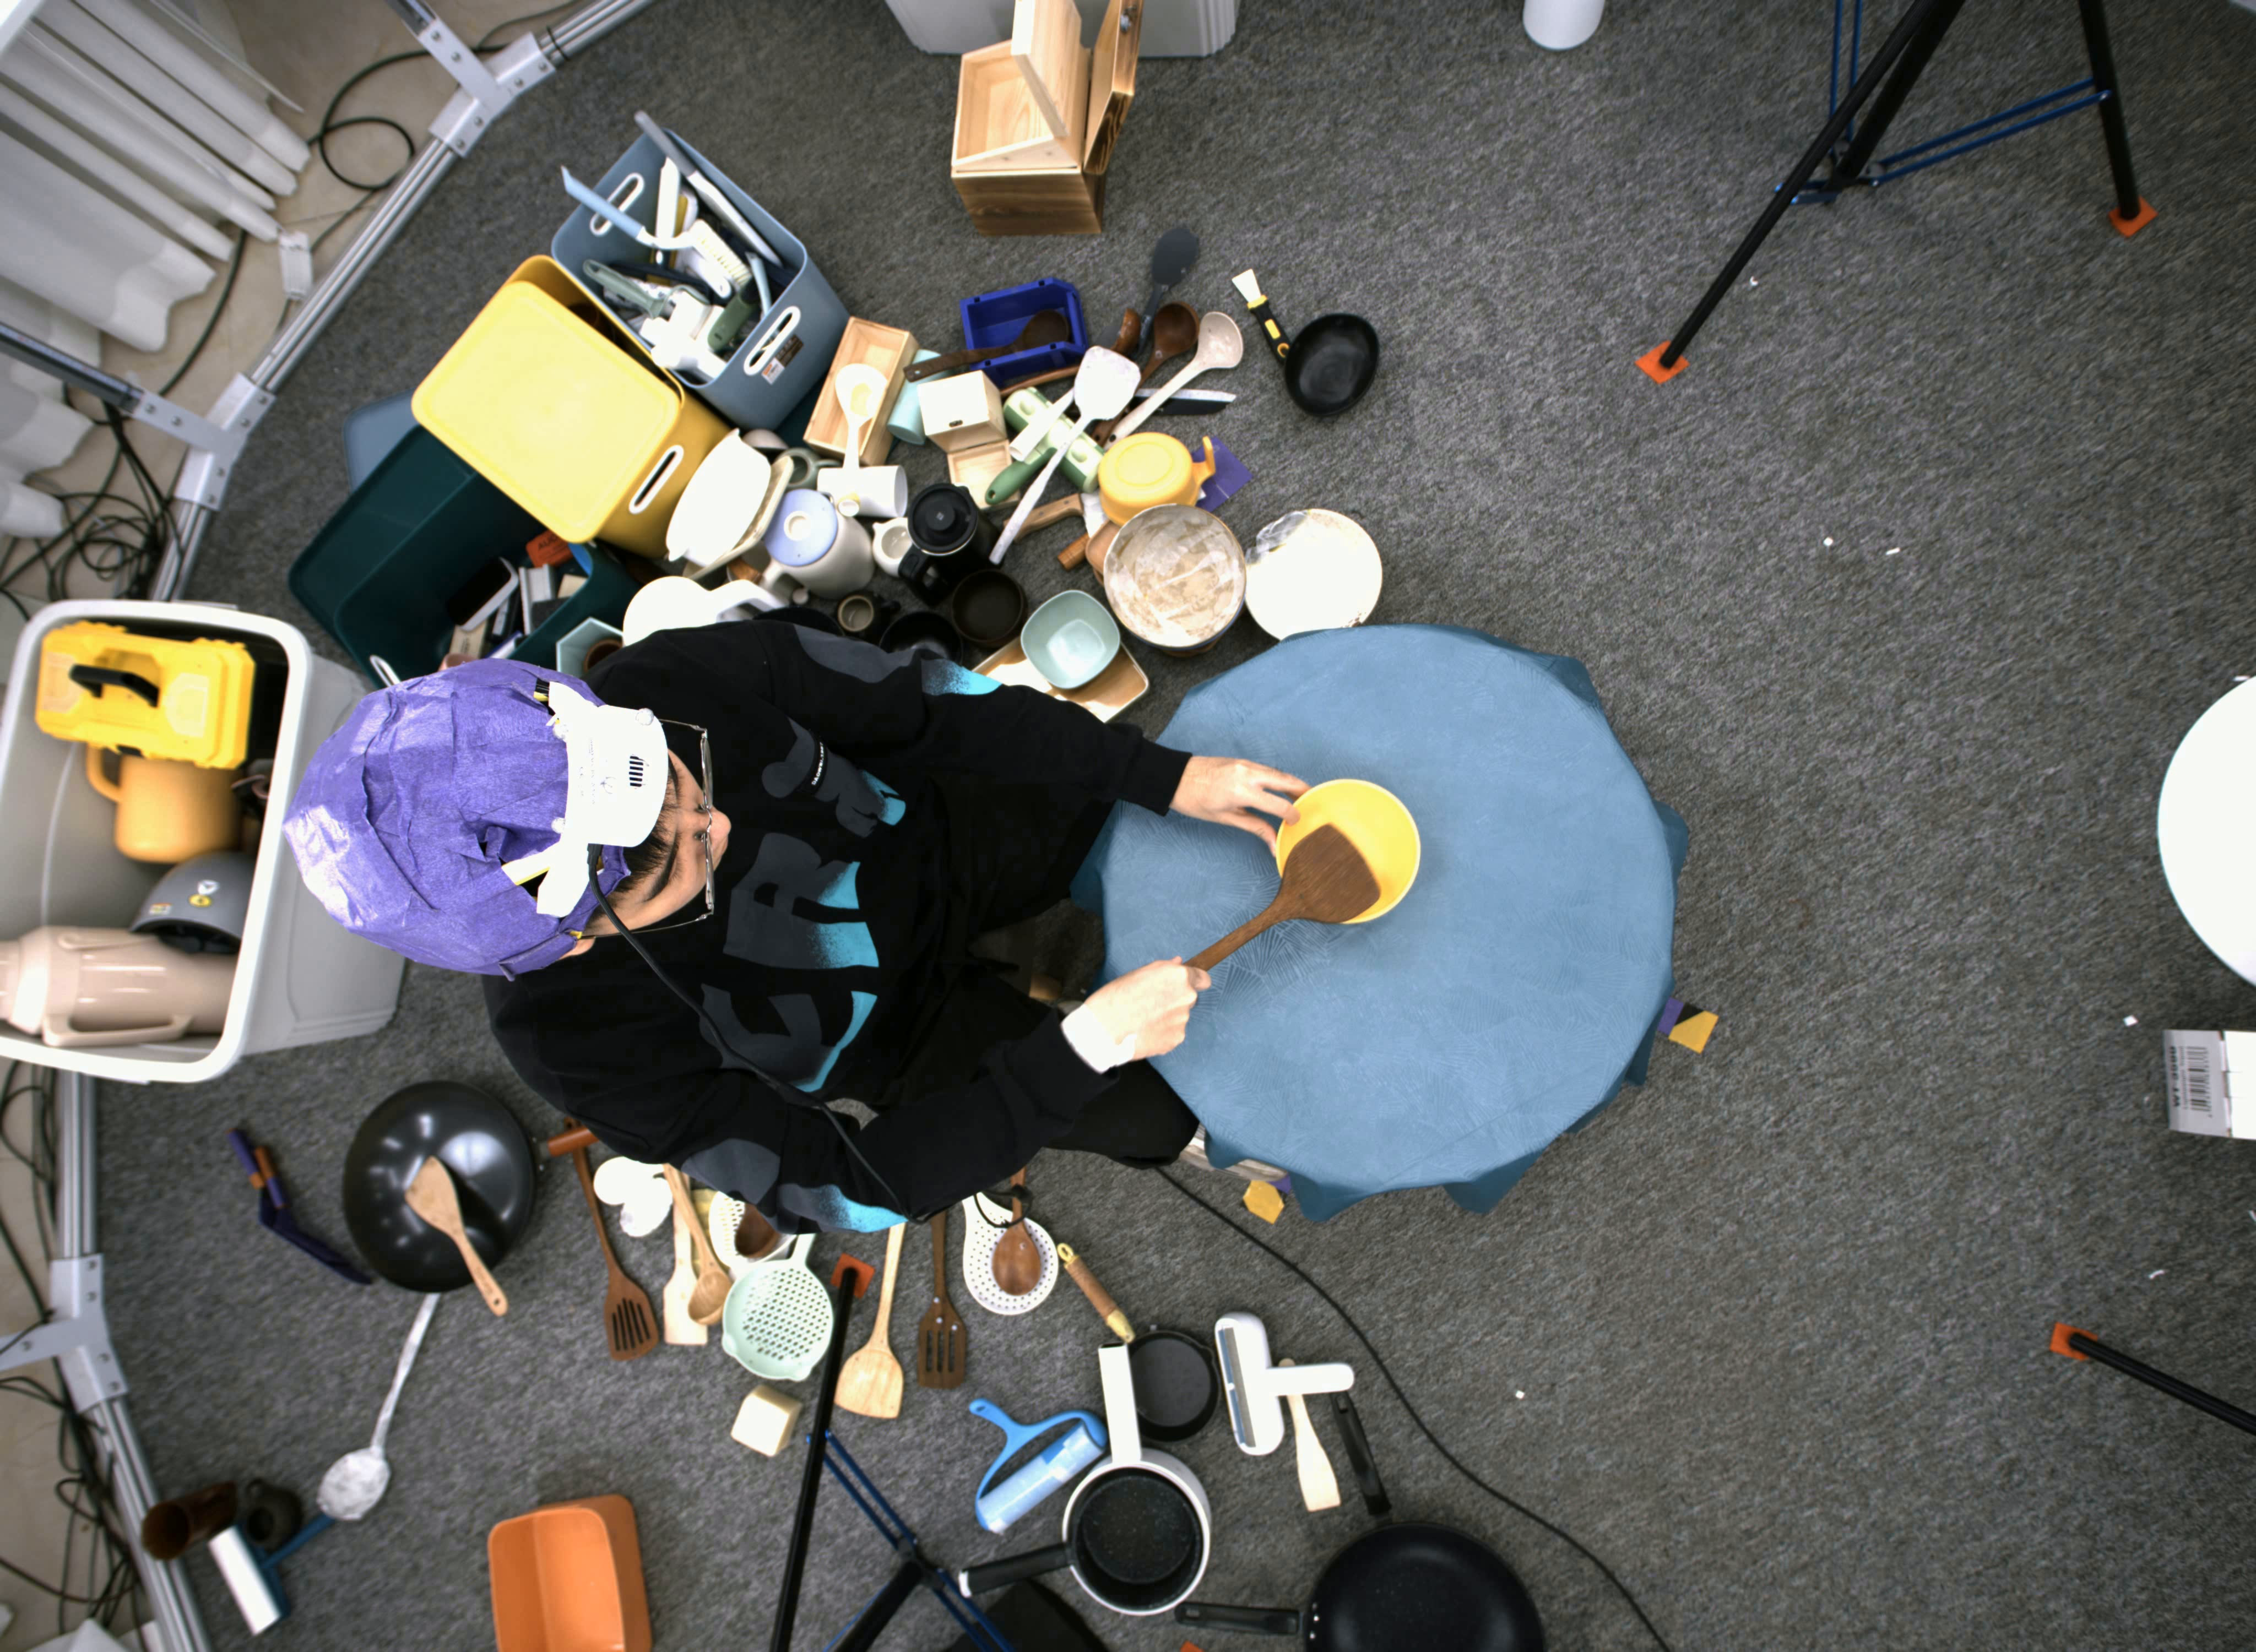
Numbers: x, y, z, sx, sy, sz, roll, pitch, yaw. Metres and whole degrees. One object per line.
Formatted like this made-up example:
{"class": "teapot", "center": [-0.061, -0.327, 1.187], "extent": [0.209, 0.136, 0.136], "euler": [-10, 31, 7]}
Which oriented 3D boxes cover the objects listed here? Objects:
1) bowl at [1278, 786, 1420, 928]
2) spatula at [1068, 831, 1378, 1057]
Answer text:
{"class": "bowl", "center": [0.226, 0.033, 1.425], "extent": [0.146, 0.060, 0.144], "euler": [-1, 86, 6]}
{"class": "spatula", "center": [0.092, 0.114, 1.291], "extent": [0.379, 0.016, 0.095], "euler": [-29, 82, -33]}
